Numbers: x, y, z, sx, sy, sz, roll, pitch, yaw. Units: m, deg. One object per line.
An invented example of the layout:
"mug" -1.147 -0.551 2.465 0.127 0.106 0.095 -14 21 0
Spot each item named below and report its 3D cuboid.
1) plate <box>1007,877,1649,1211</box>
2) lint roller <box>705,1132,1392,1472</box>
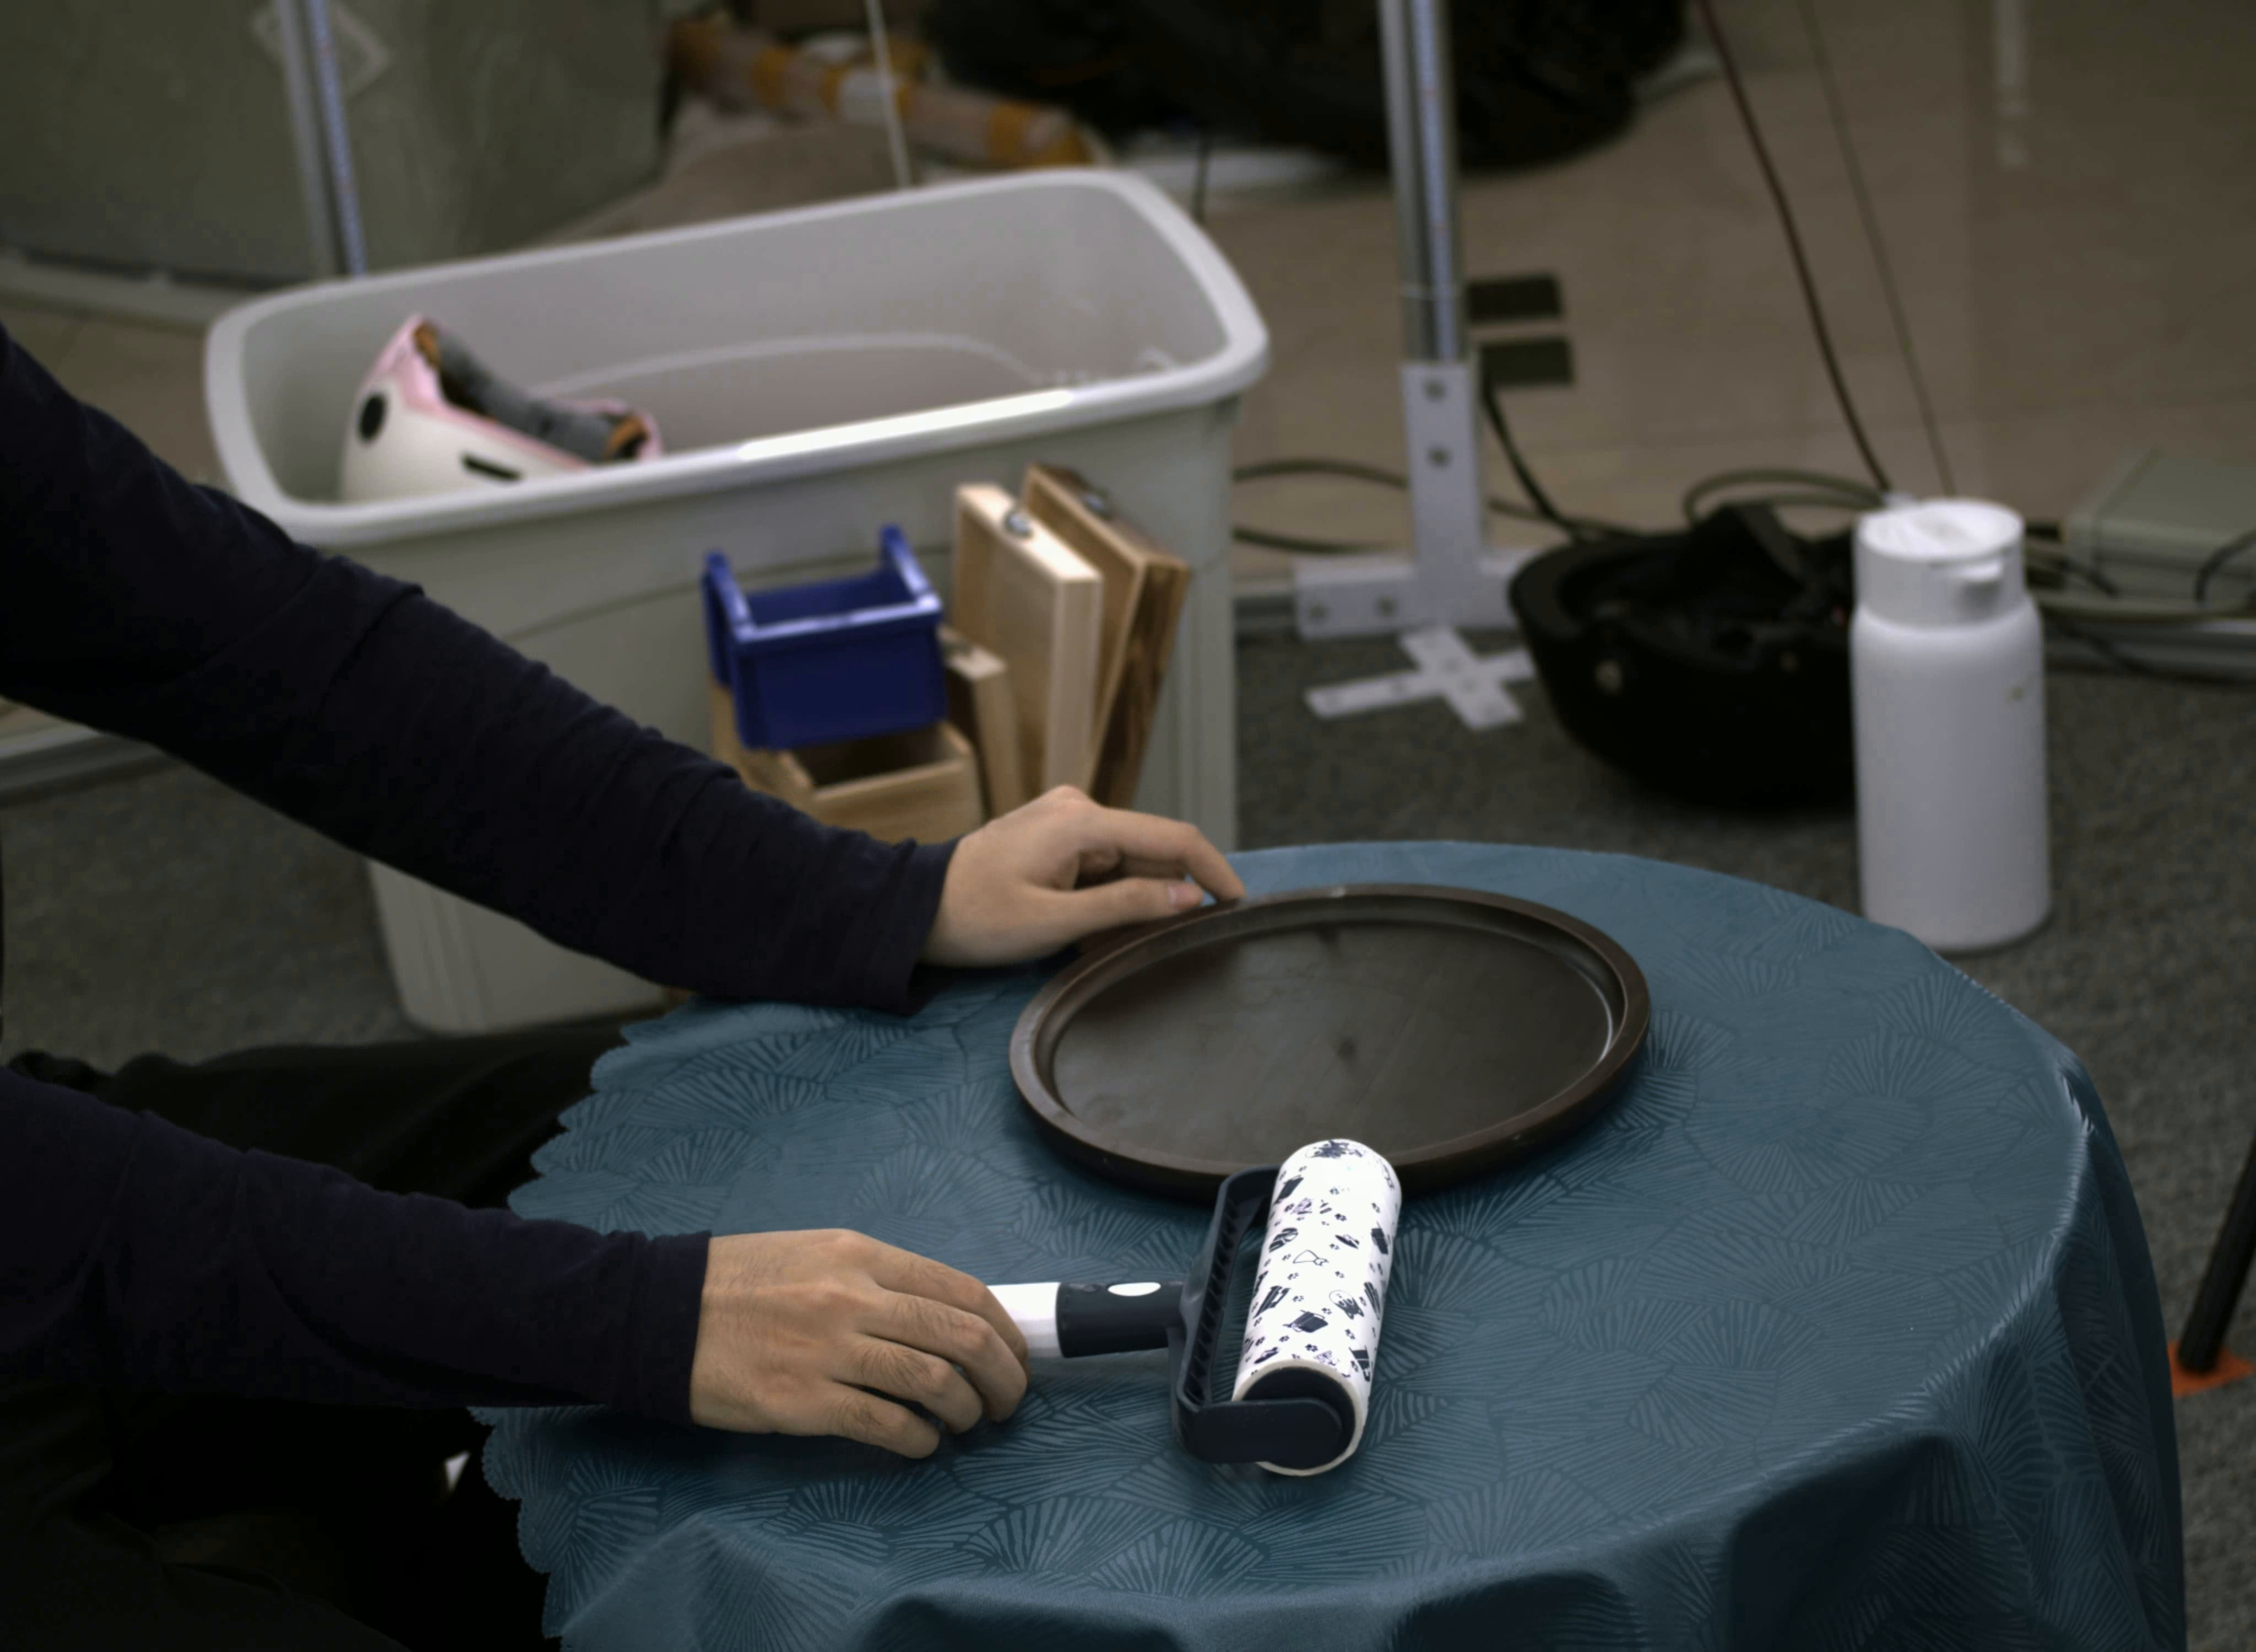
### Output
"plate" 0.079 0.085 2.223 0.254 0.029 0.251 -7 24 3
"lint roller" -0.033 0.178 2.028 0.247 0.051 0.173 -5 26 10
